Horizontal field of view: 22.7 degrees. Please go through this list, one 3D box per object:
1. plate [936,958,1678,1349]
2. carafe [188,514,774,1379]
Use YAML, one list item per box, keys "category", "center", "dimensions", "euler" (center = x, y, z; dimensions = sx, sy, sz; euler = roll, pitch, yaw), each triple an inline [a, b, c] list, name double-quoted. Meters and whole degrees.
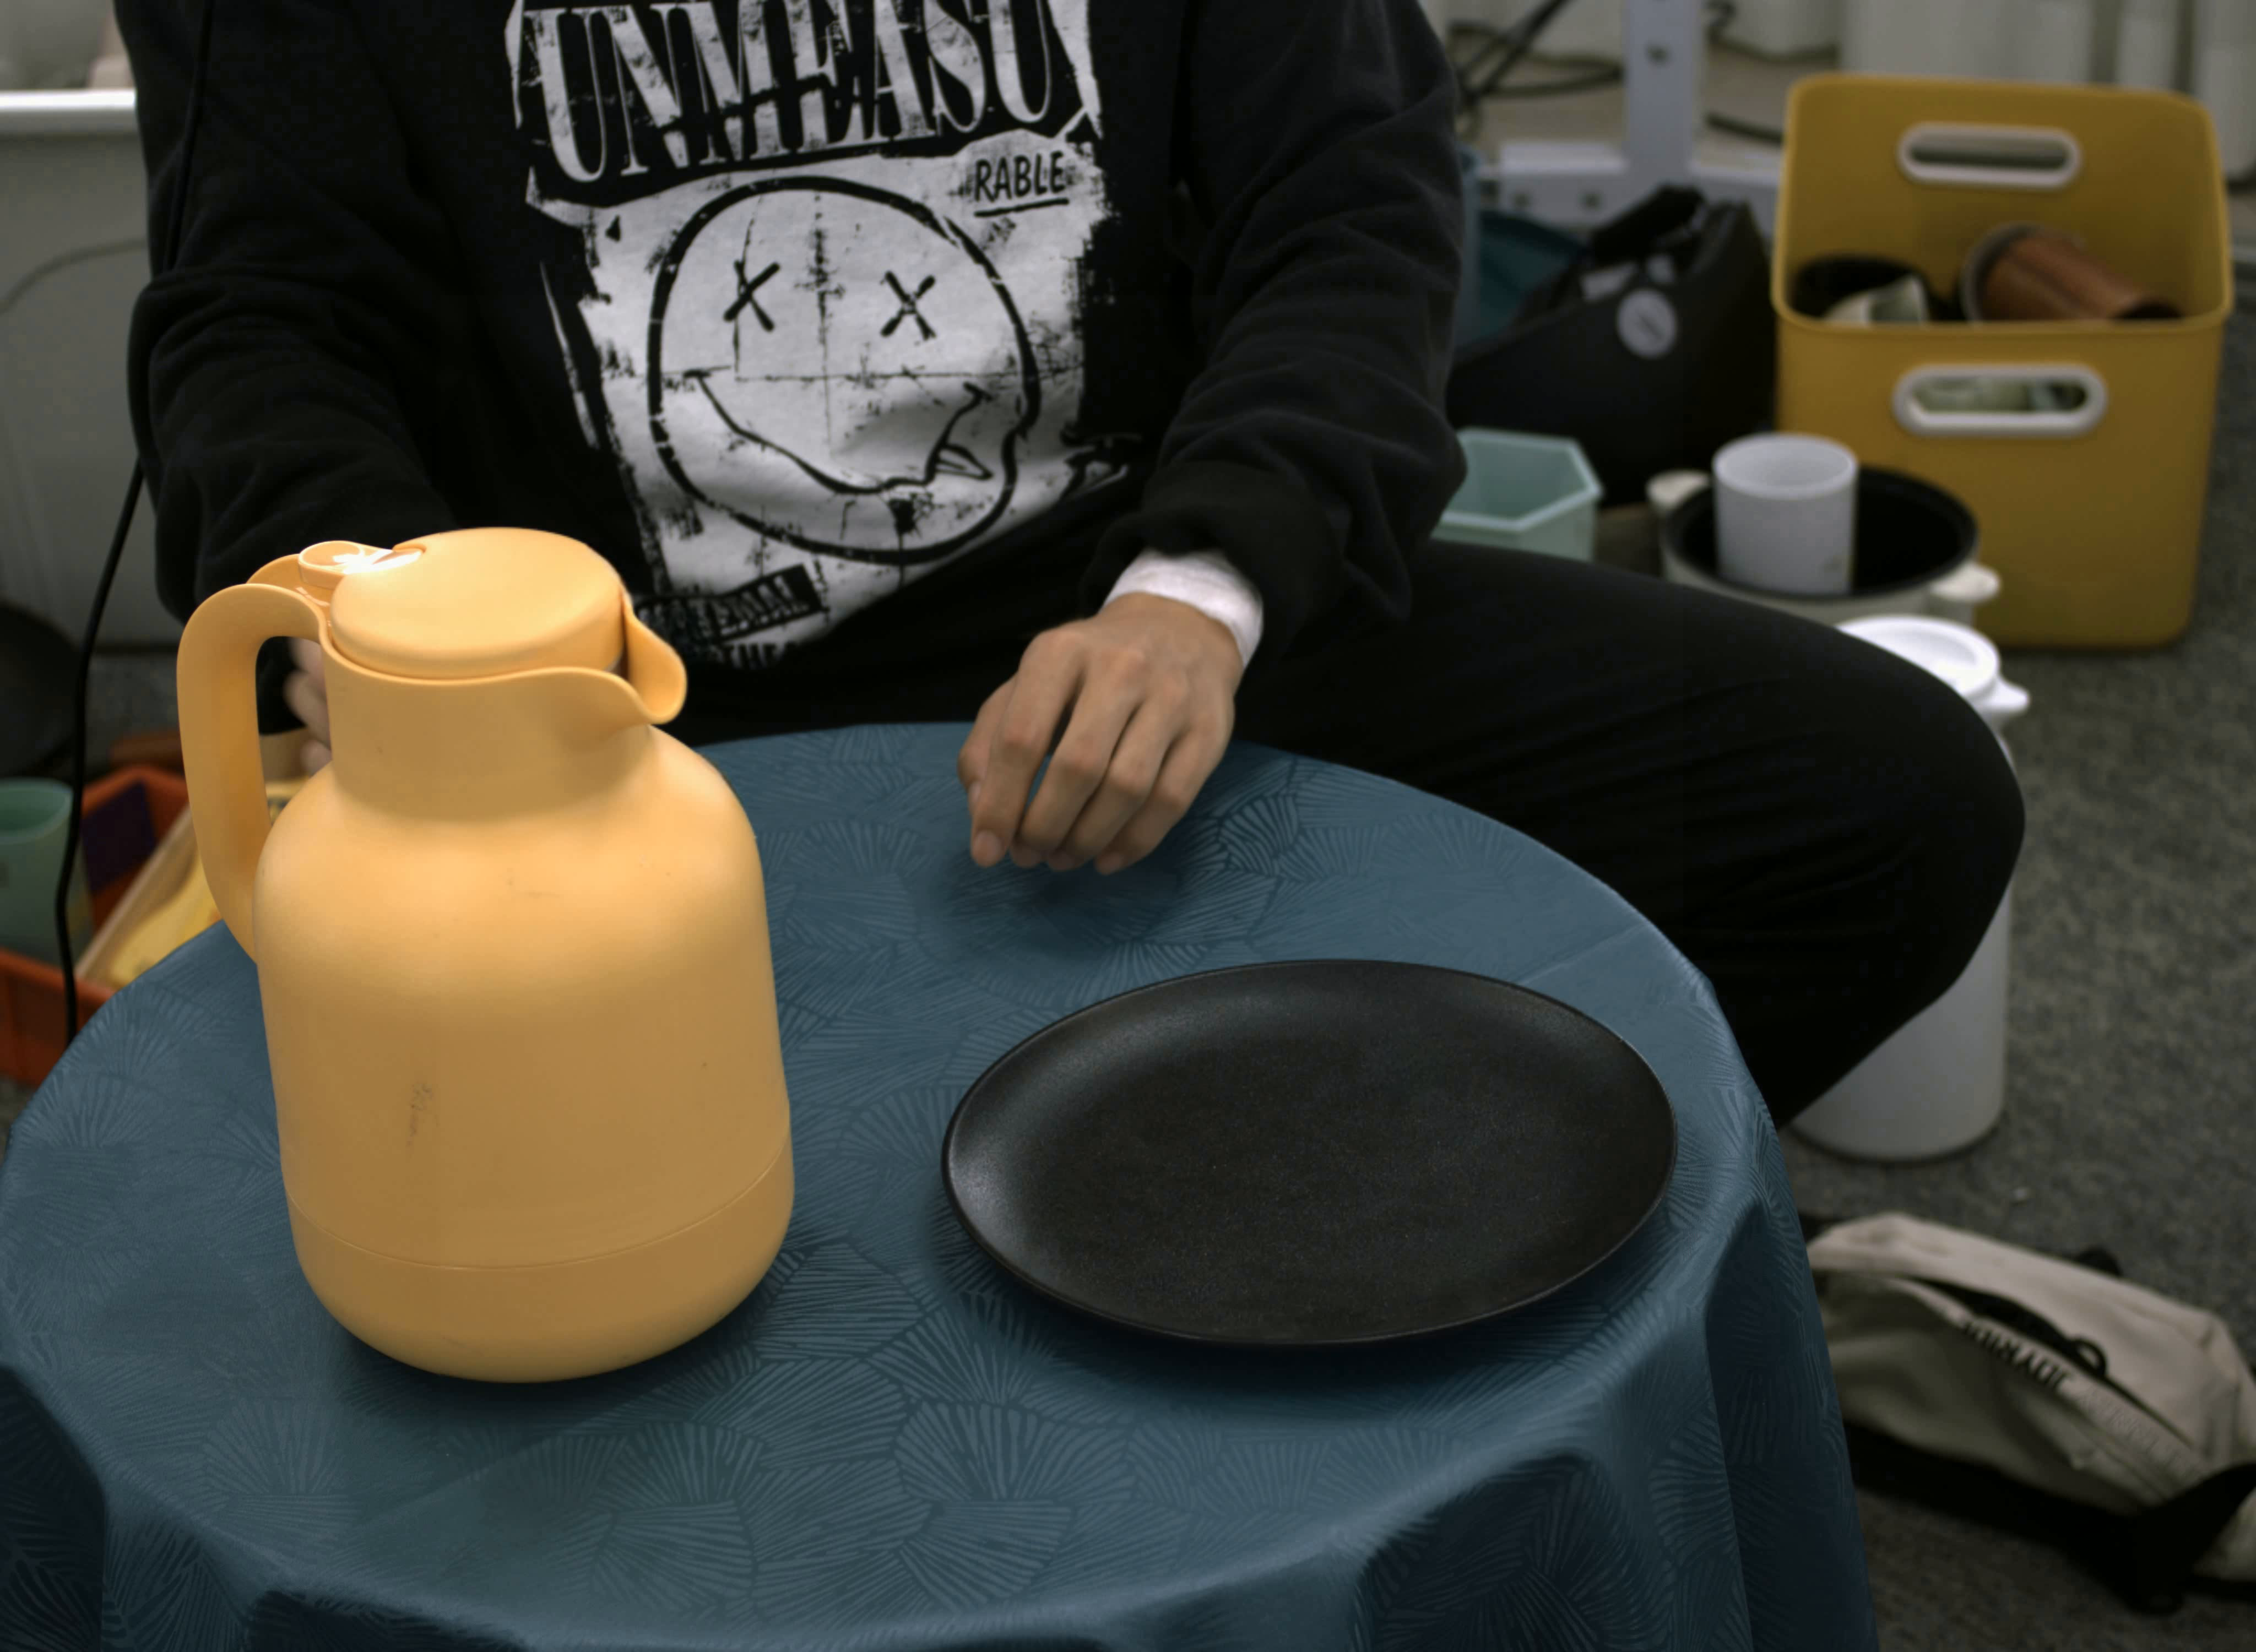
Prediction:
- category: "plate"
  center: [0.059, 0.112, 1.846]
  dimensions: [0.243, 0.023, 0.248]
  euler: [-2, 27, 1]
- category: "carafe"
  center: [-0.210, 0.028, 1.776]
  dimensions: [0.201, 0.258, 0.166]
  euler: [18, 30, 32]
